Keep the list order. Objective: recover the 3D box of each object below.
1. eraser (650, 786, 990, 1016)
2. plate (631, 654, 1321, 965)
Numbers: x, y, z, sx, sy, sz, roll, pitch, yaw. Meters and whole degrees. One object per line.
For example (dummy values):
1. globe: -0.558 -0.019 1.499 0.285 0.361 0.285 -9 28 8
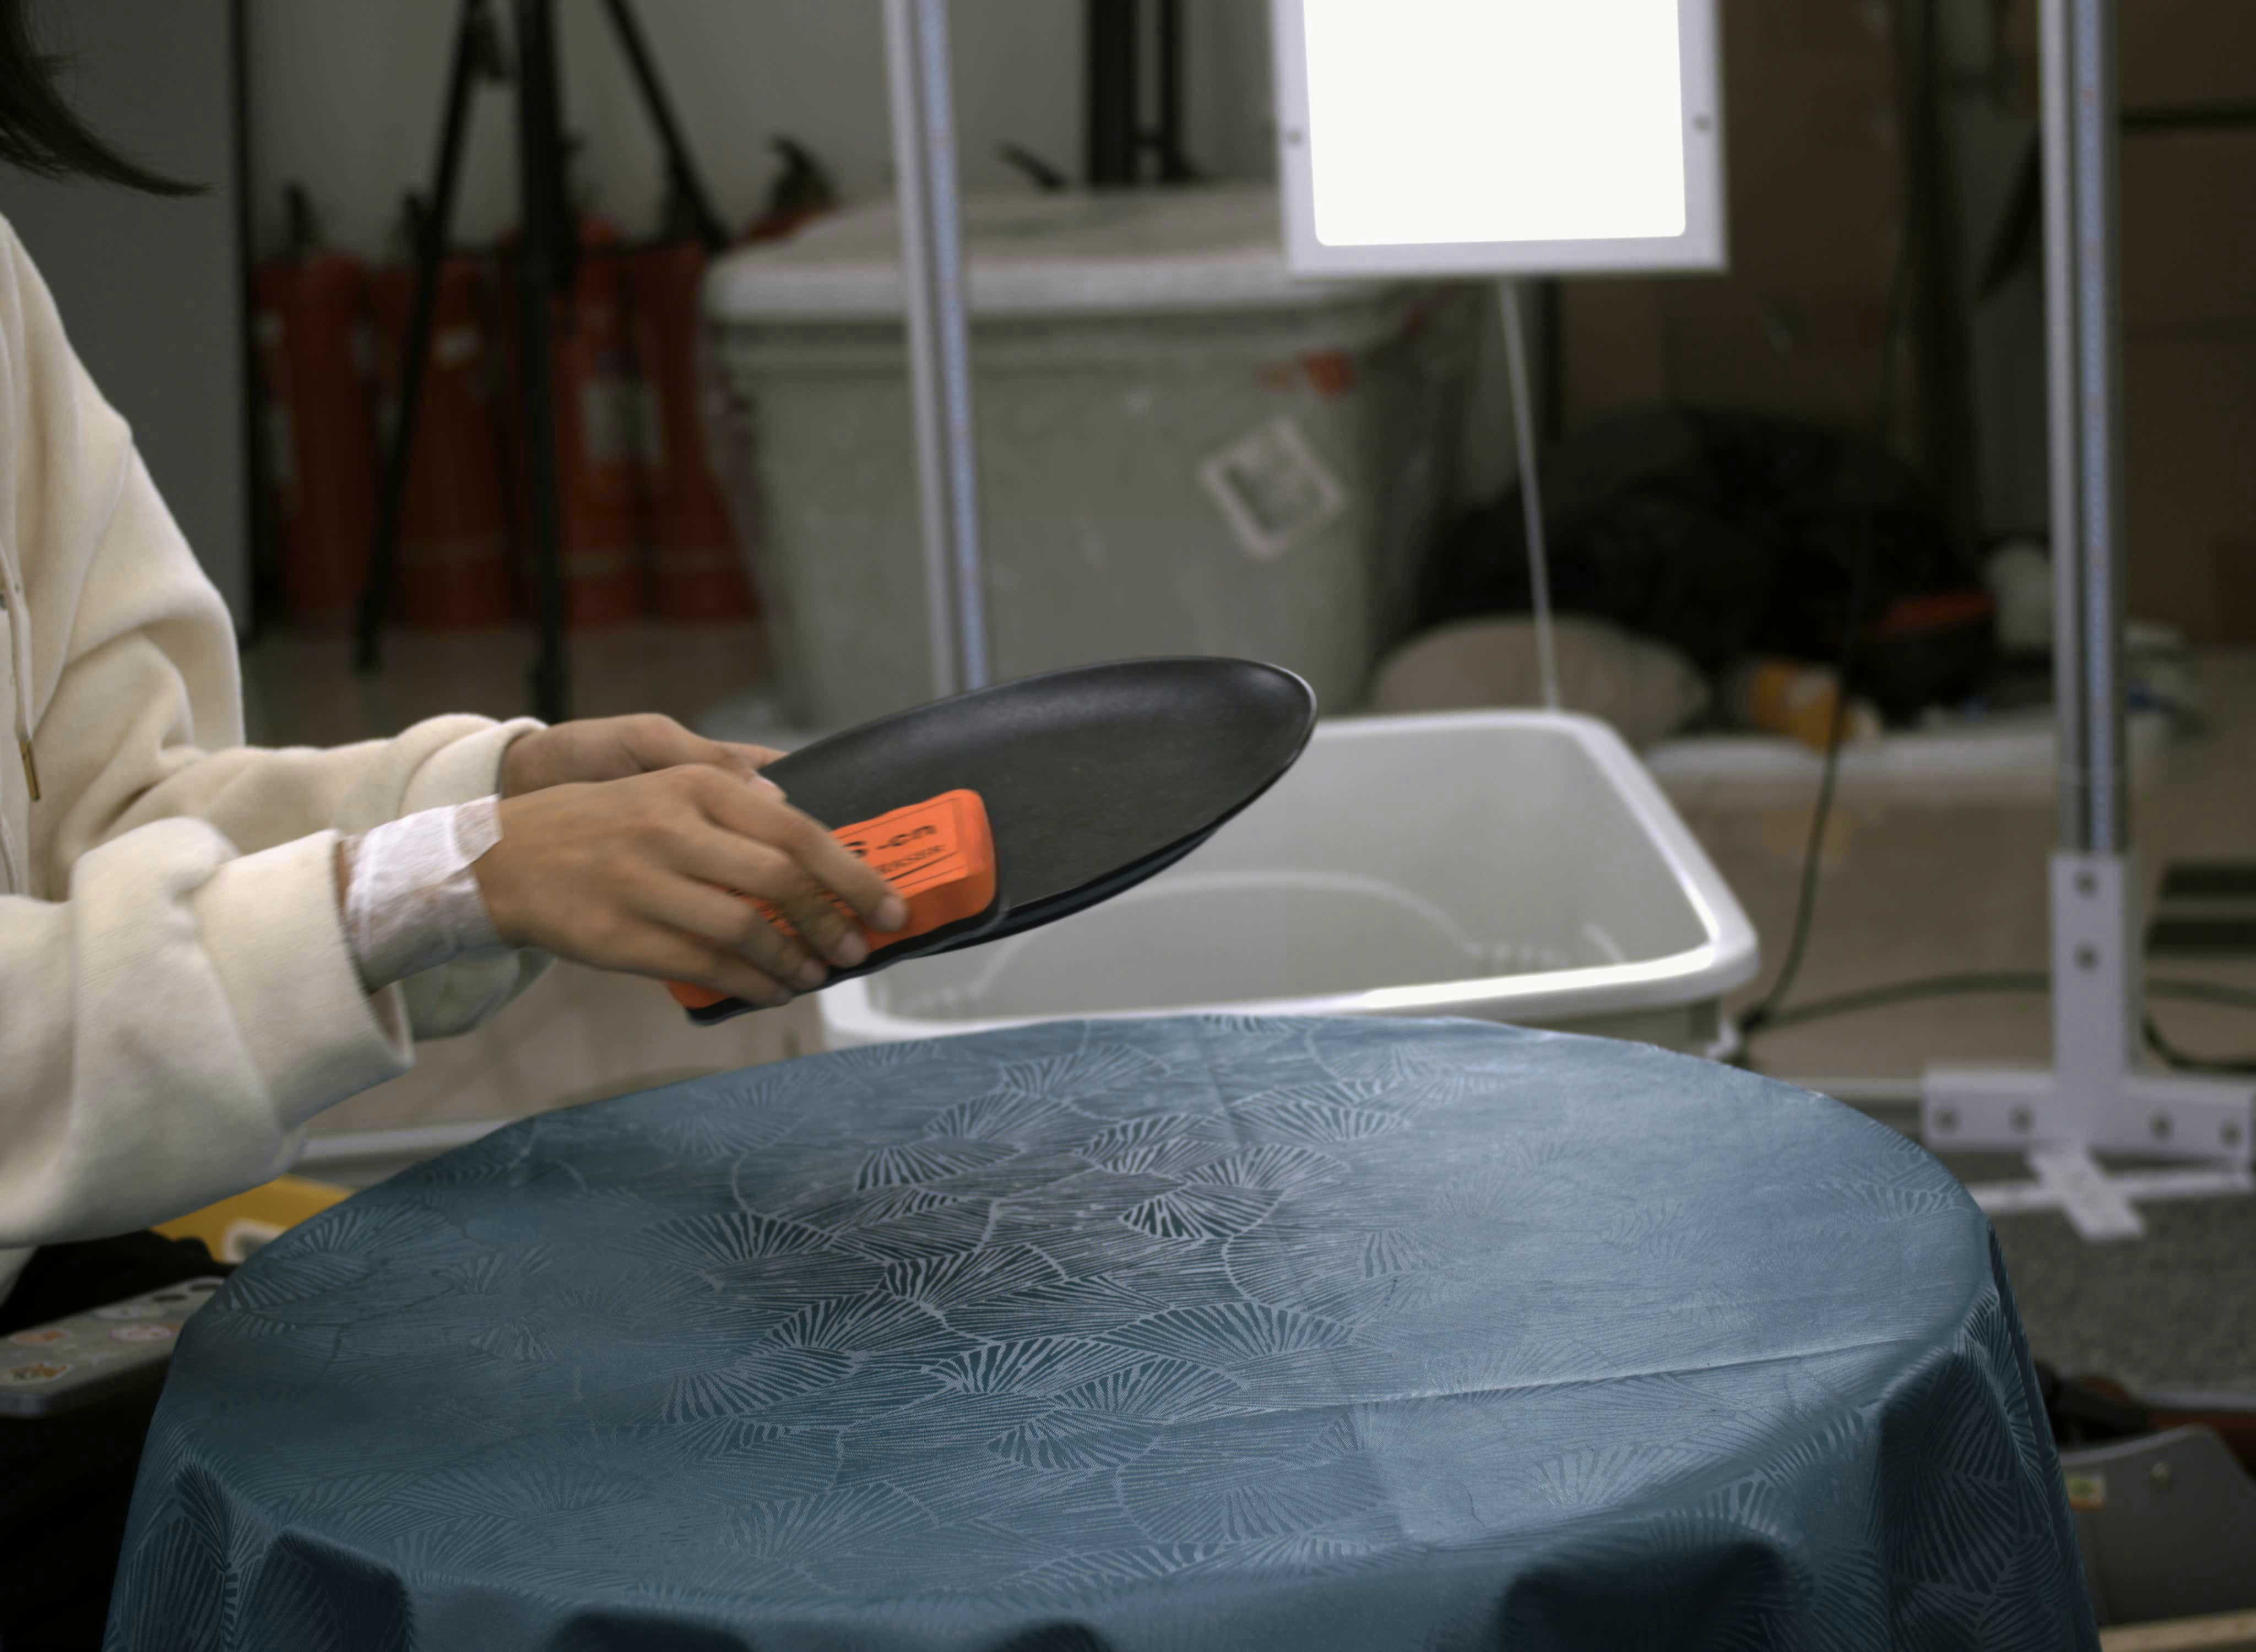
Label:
1. eraser: -0.099 0.024 1.756 0.108 0.023 0.059 -17 31 7
2. plate: -0.049 -0.001 1.862 0.245 0.023 0.244 -16 18 4
